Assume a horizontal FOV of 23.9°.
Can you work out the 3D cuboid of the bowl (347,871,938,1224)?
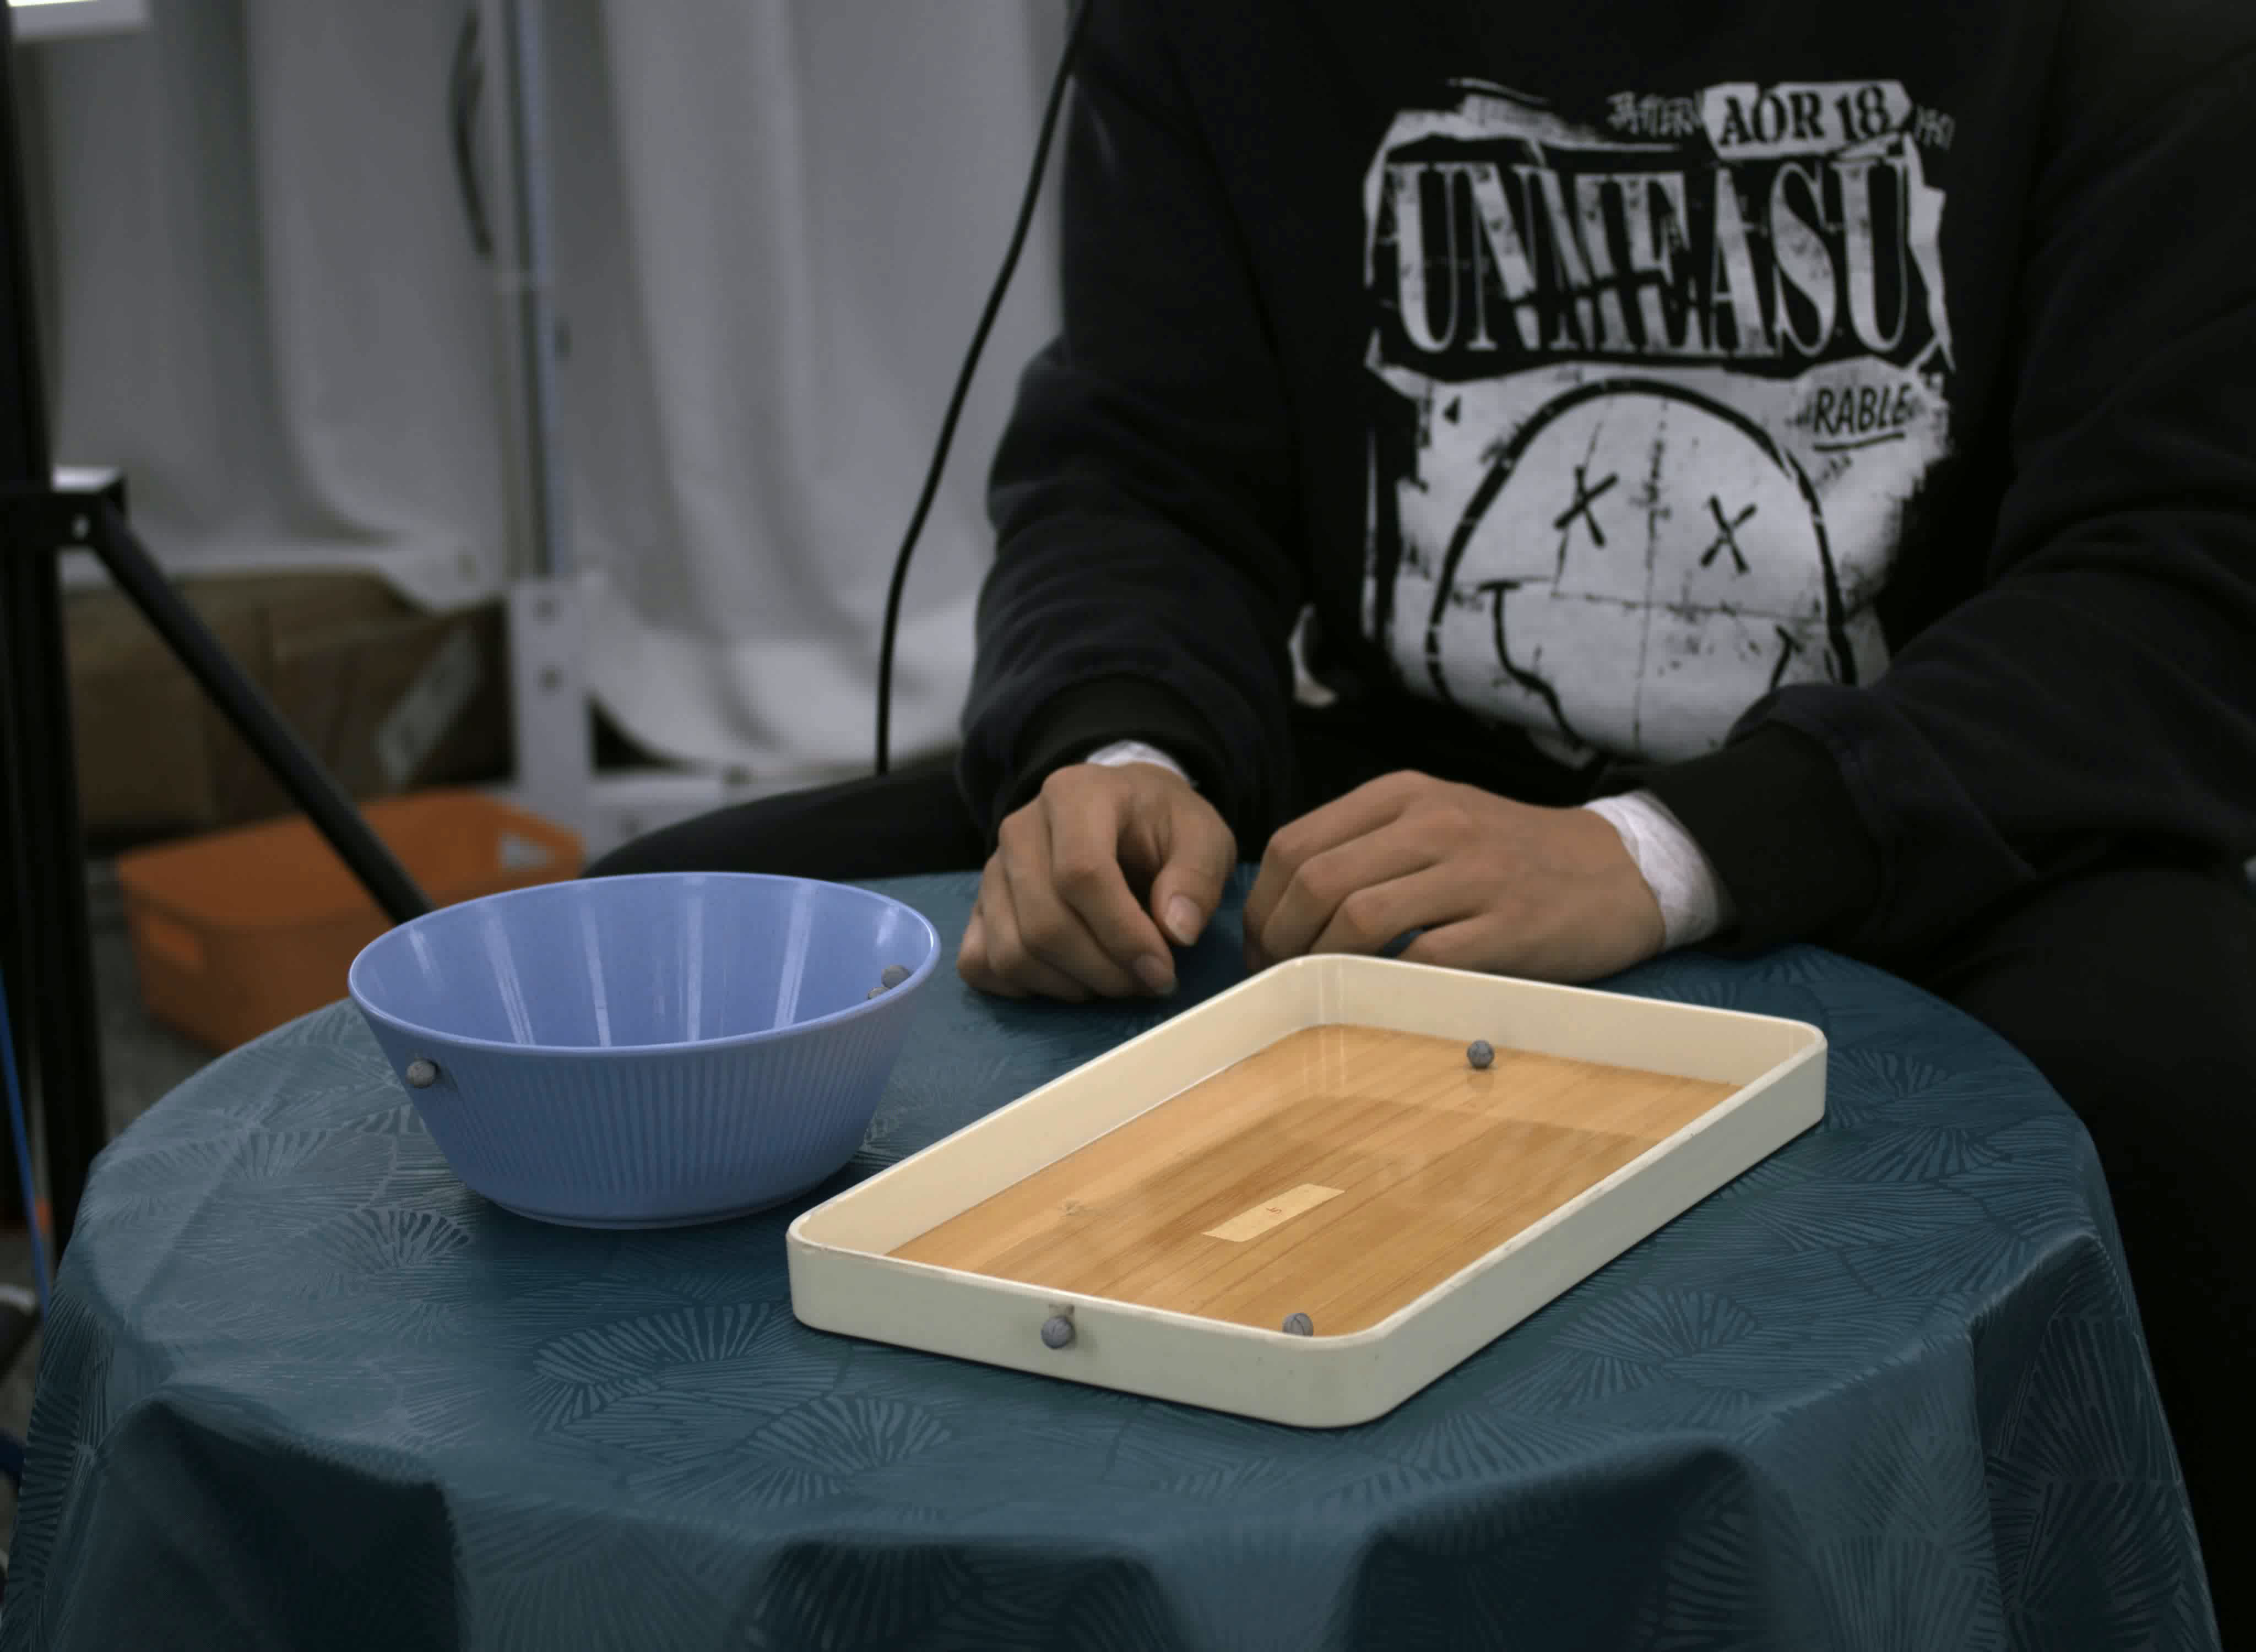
[{"bbox_3d":[-0.143,0.068,1.590,0.175,0.070,0.177,-2,16,-1],"label":"bowl"}]

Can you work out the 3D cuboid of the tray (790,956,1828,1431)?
[{"bbox_3d":[0.059,0.100,1.529,0.195,0.027,0.294,7,19,33],"label":"tray"}]
